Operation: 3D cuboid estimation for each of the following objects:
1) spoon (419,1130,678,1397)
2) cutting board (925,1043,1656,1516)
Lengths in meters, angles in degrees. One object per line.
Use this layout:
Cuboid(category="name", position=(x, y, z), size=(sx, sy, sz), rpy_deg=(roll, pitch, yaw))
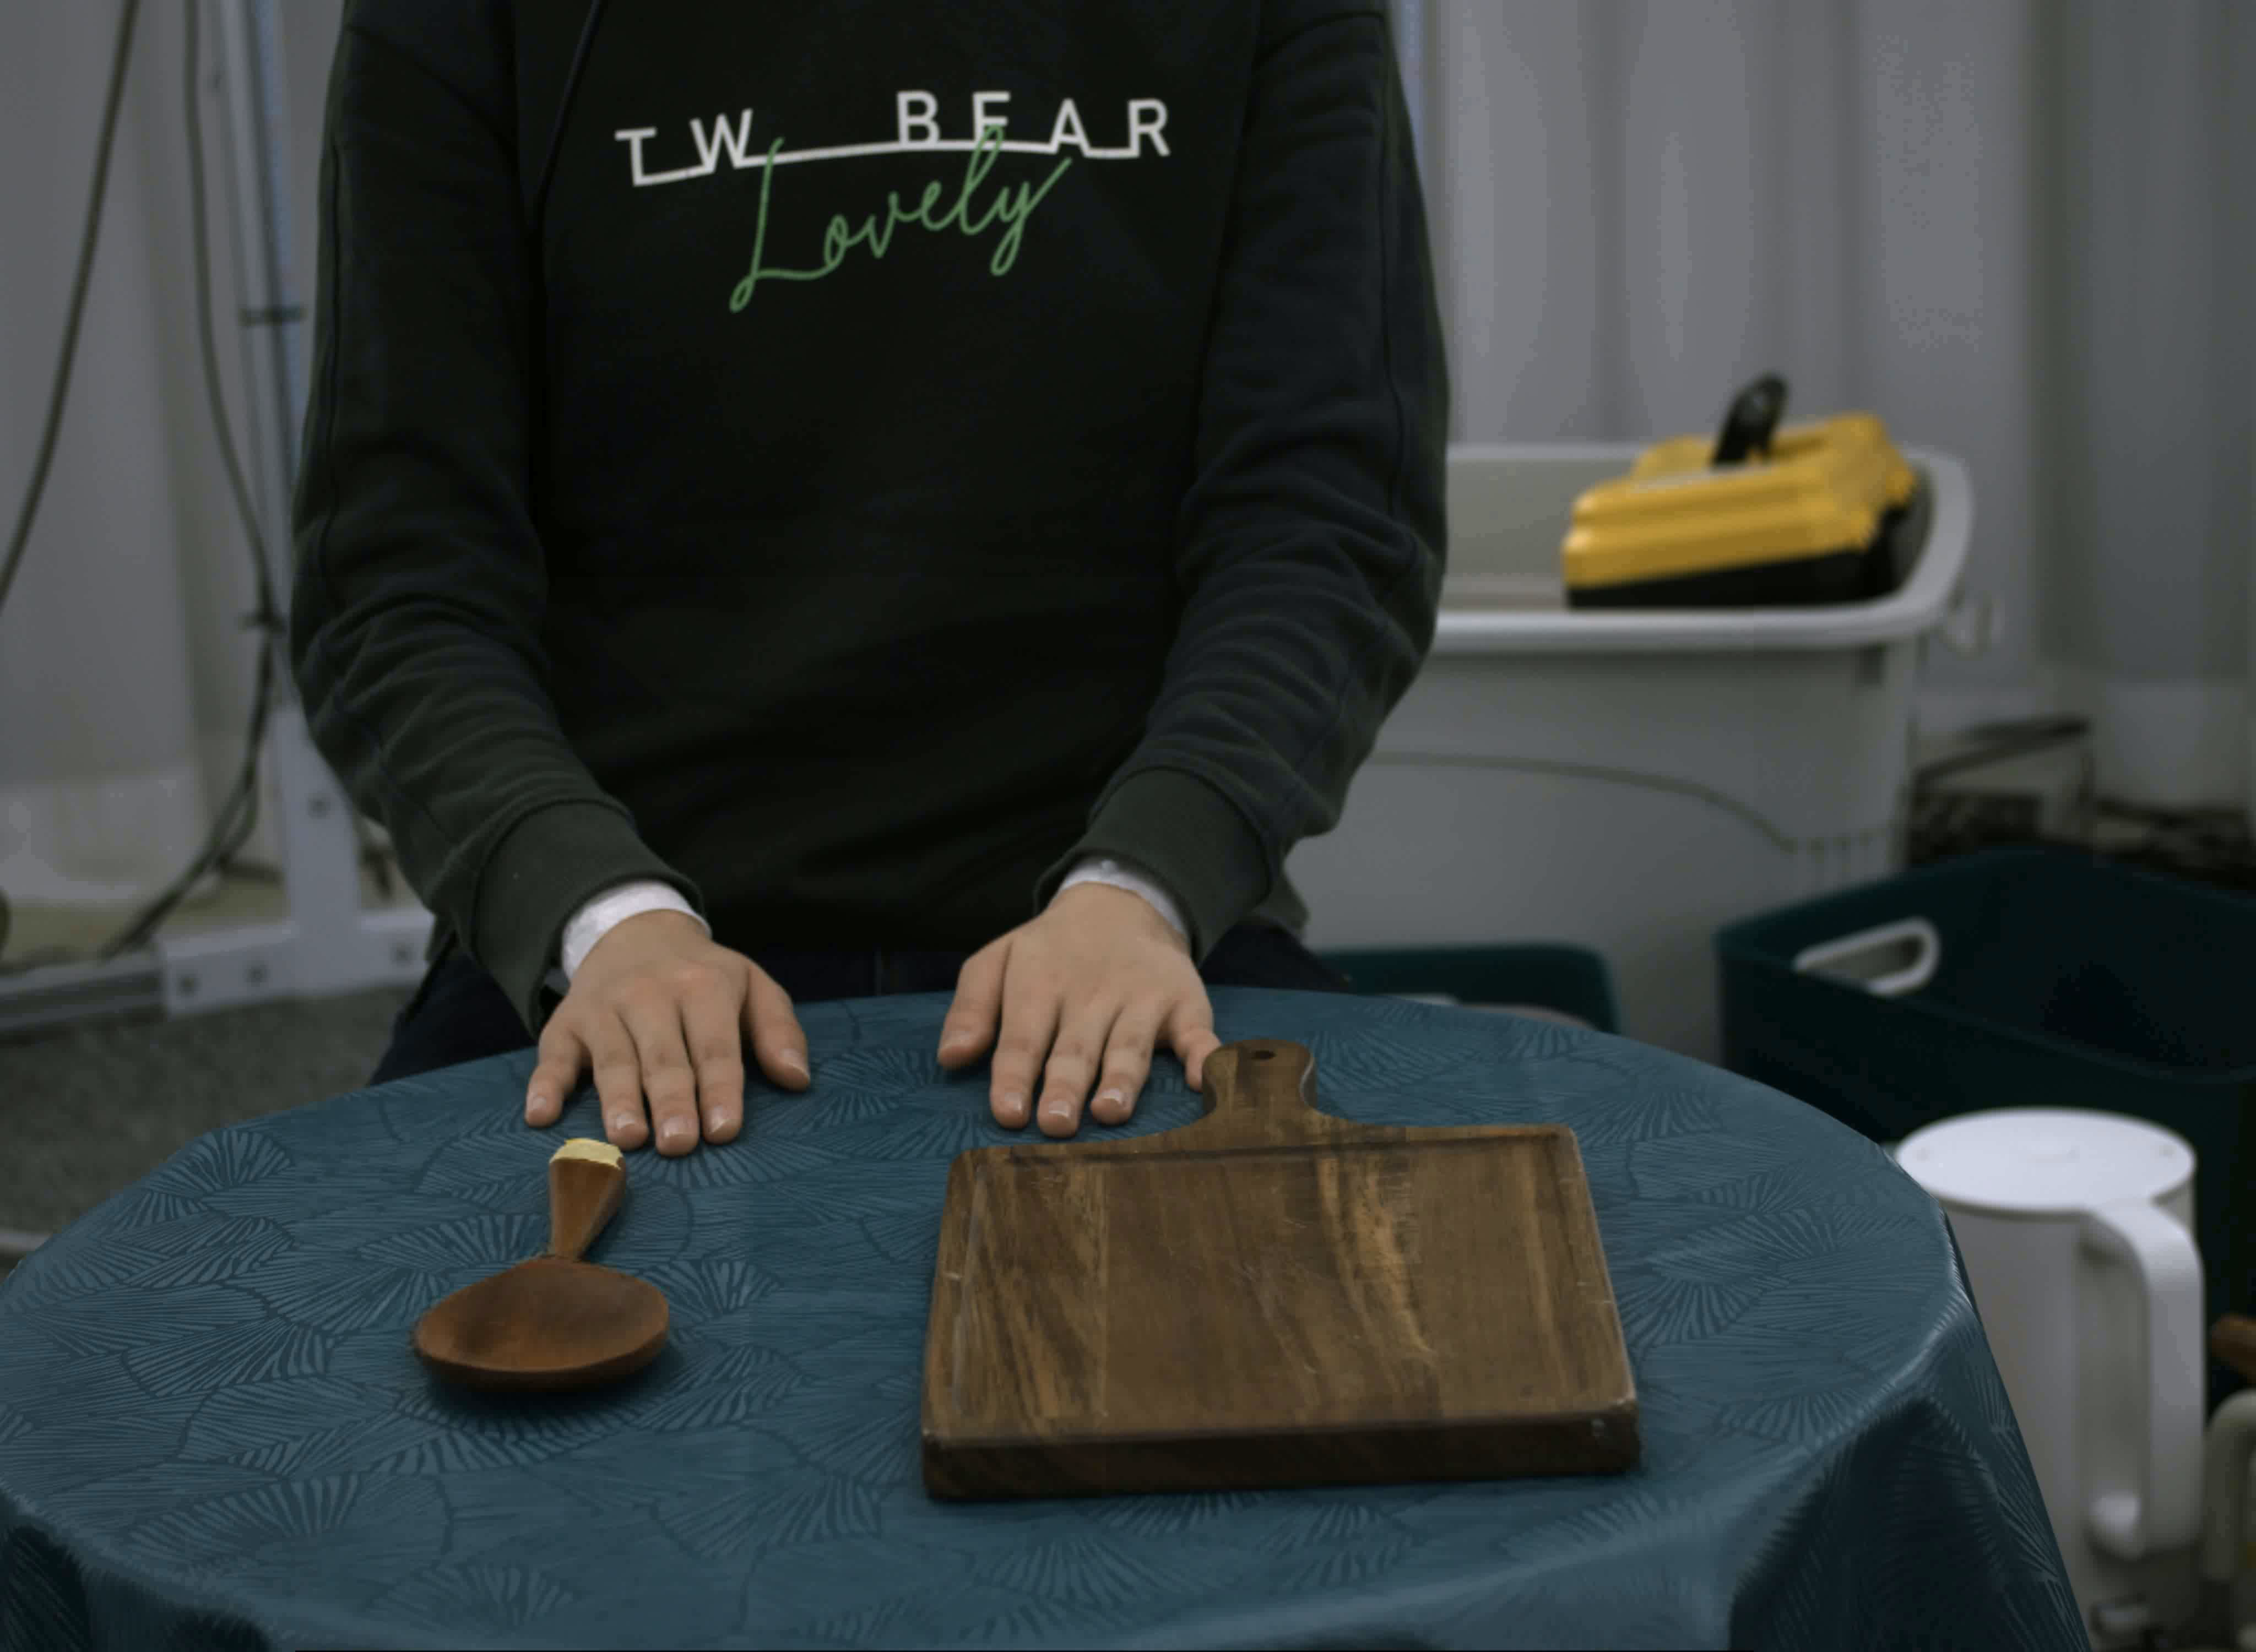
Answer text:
Cuboid(category="spoon", position=(-0.169, 0.132, 1.645), size=(0.075, 0.017, 0.217), rpy_deg=(-5, 15, 0))
Cuboid(category="cutting board", position=(0.043, 0.126, 1.631), size=(0.200, 0.023, 0.354), rpy_deg=(-4, 15, 1))
